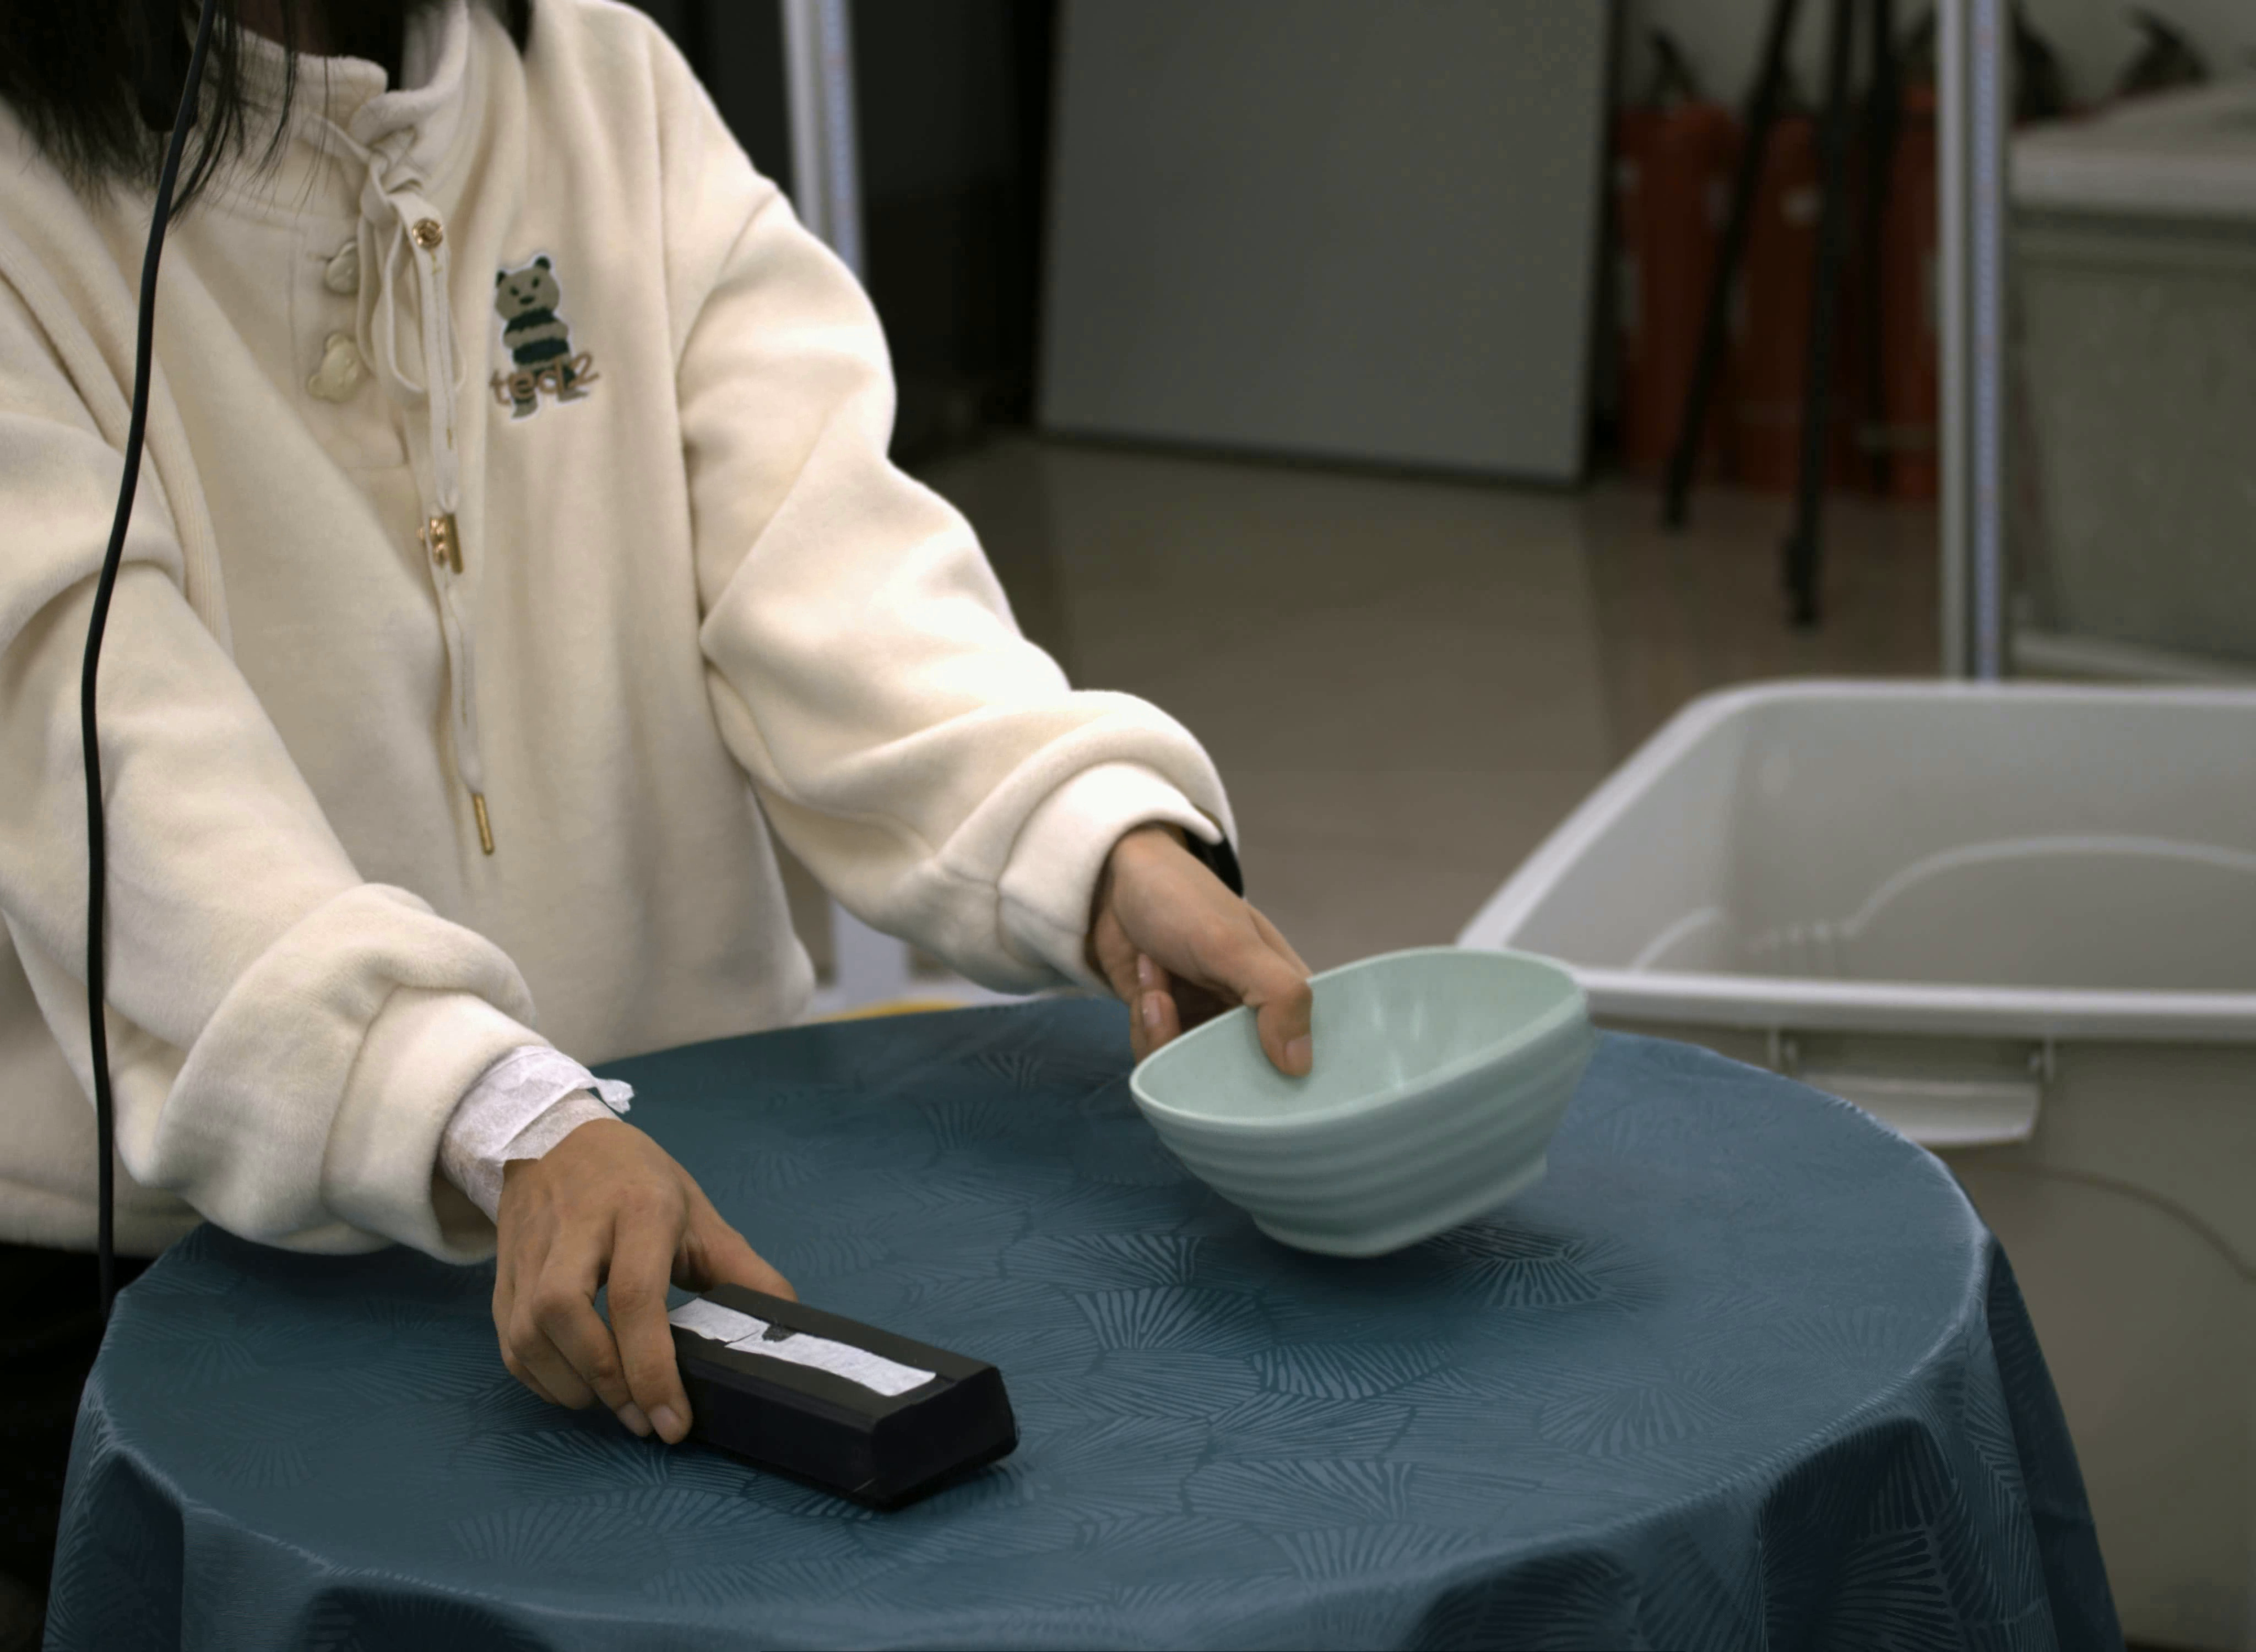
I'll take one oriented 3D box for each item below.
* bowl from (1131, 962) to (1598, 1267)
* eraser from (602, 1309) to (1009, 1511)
[{"bbox_3d":[0.078,0.094,1.694,0.150,0.059,0.152,-11,14,2],"label":"bowl"},{"bbox_3d":[-0.092,0.167,1.553,0.052,0.031,0.127,-18,17,-41],"label":"eraser"}]
